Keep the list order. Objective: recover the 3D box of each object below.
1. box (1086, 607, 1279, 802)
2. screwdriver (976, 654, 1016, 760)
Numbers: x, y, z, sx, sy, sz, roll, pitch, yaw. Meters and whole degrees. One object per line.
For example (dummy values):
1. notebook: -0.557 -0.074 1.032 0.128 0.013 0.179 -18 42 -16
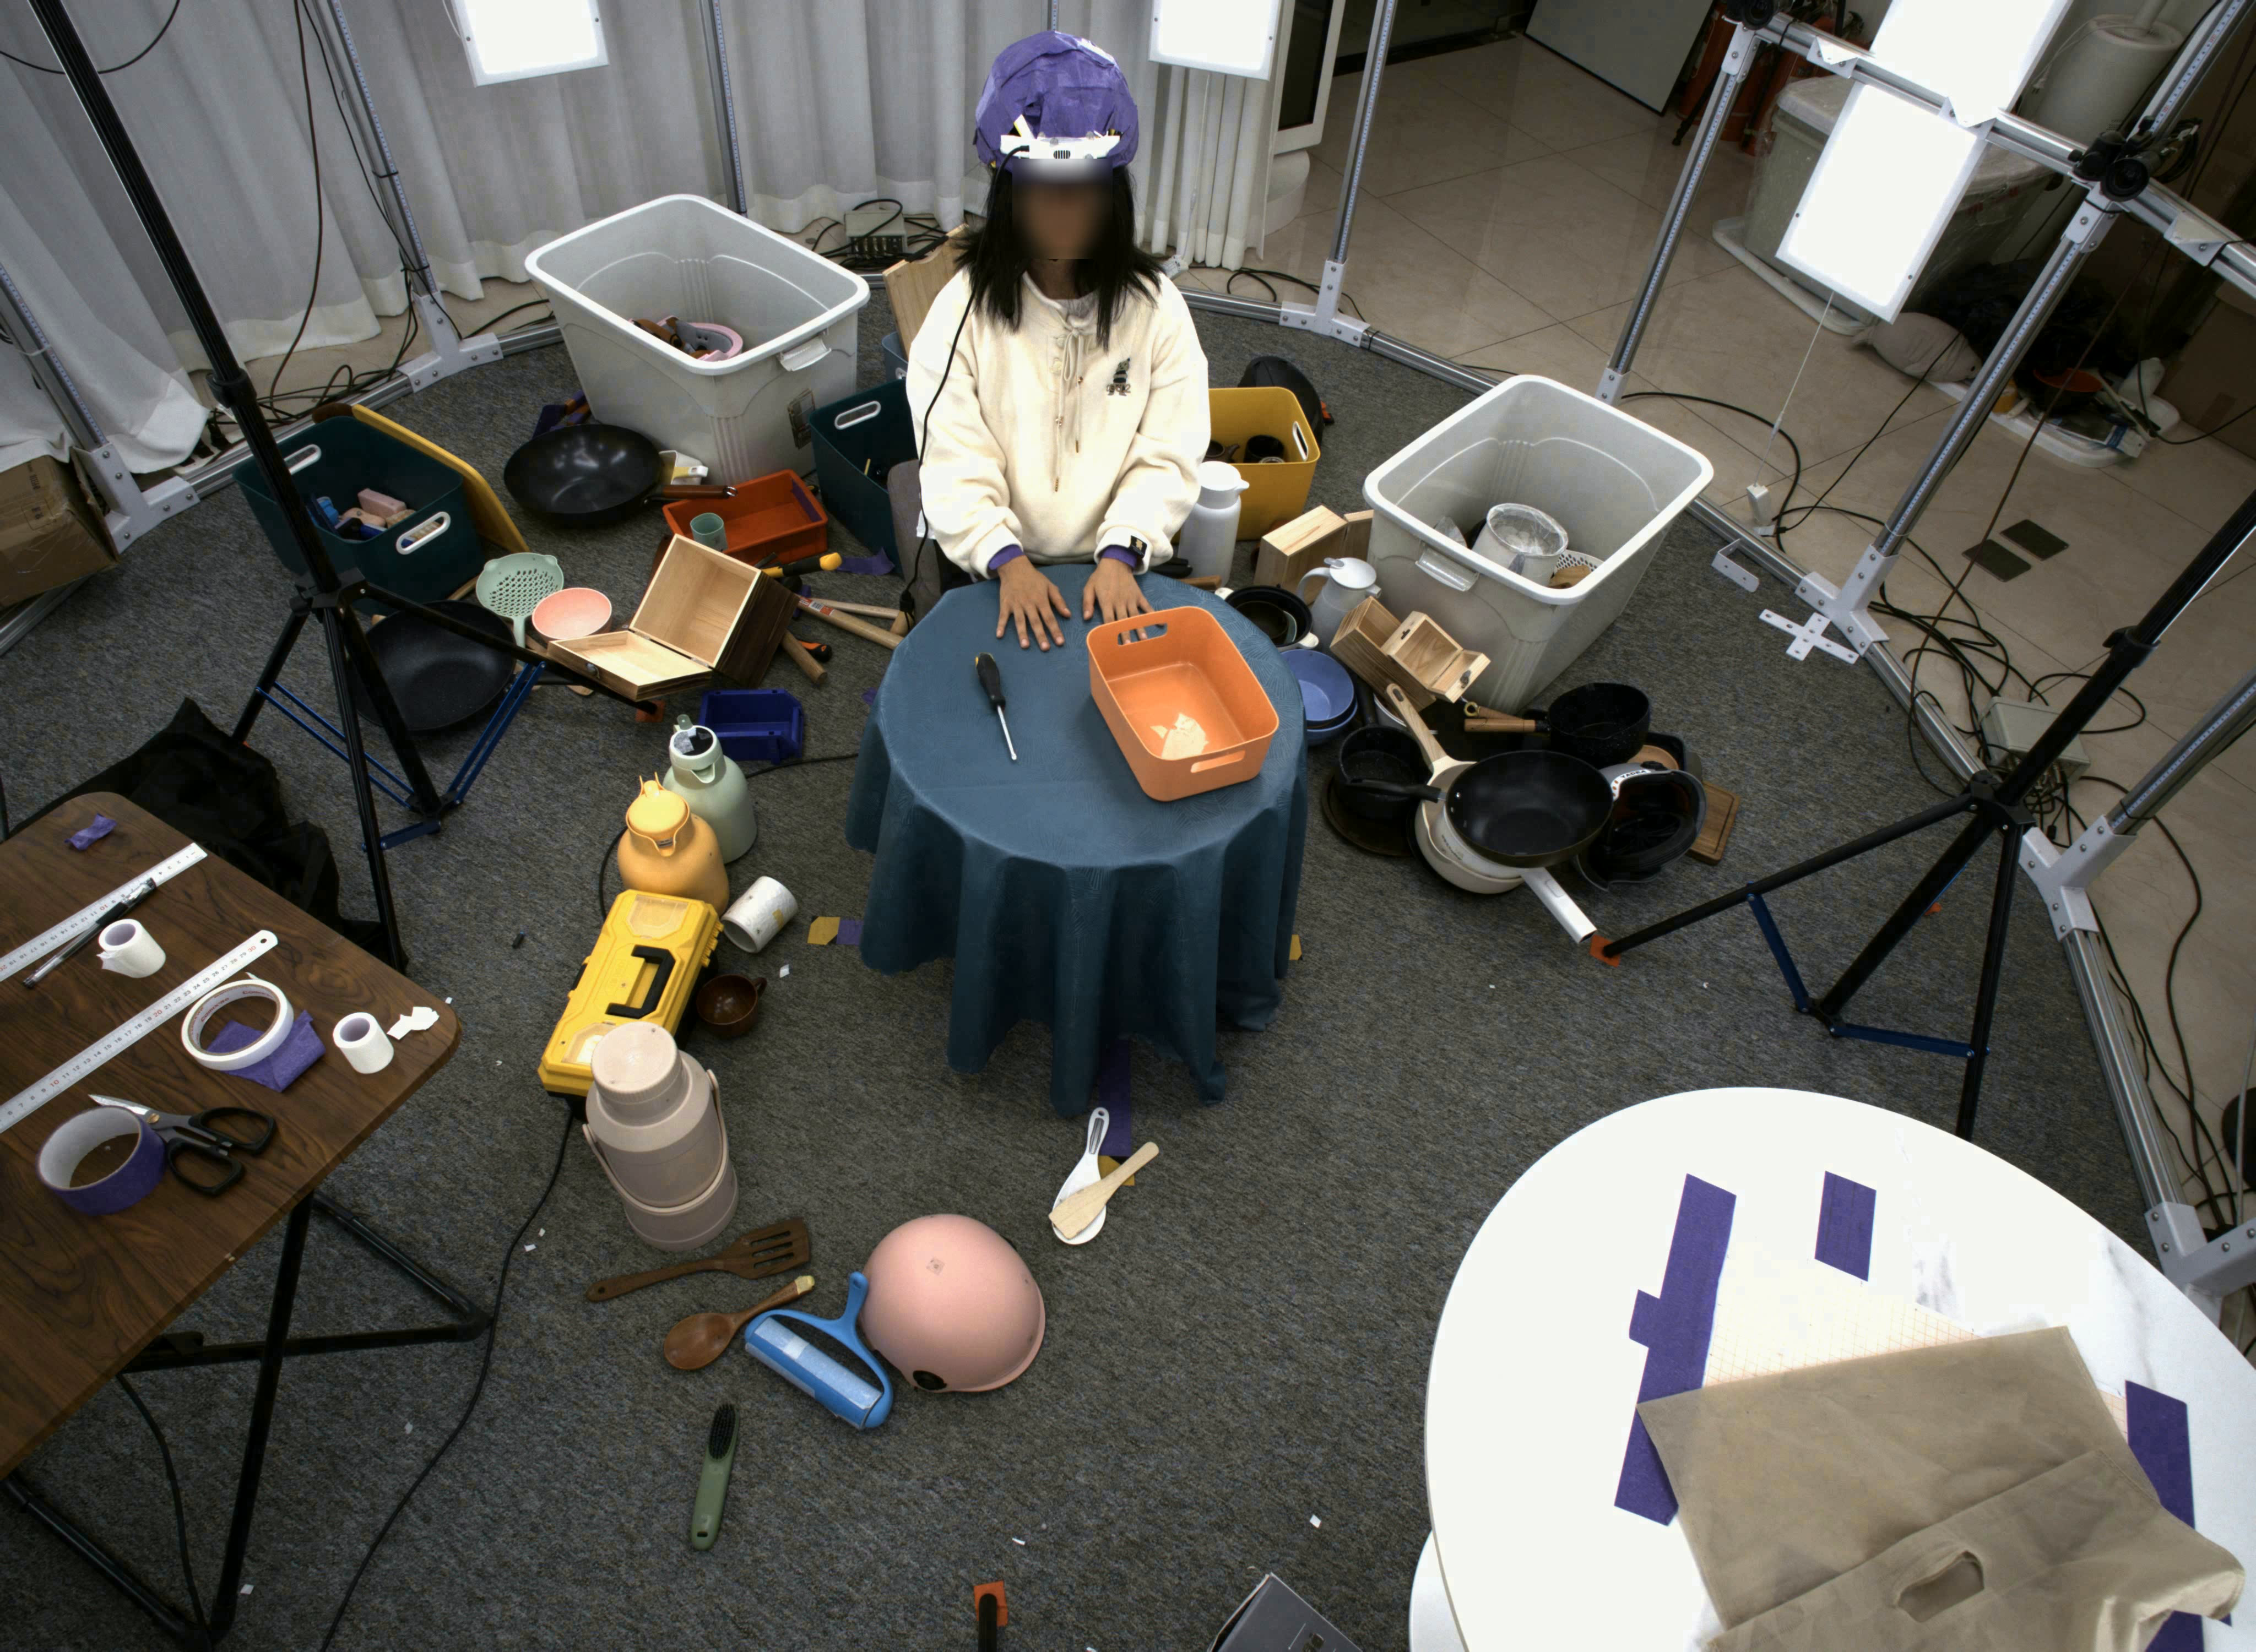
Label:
1. box: 0.069 -0.165 1.751 0.199 0.100 0.279 -16 52 -16
2. screwdriver: -0.184 -0.165 1.788 0.031 0.031 0.201 -8 54 -11
